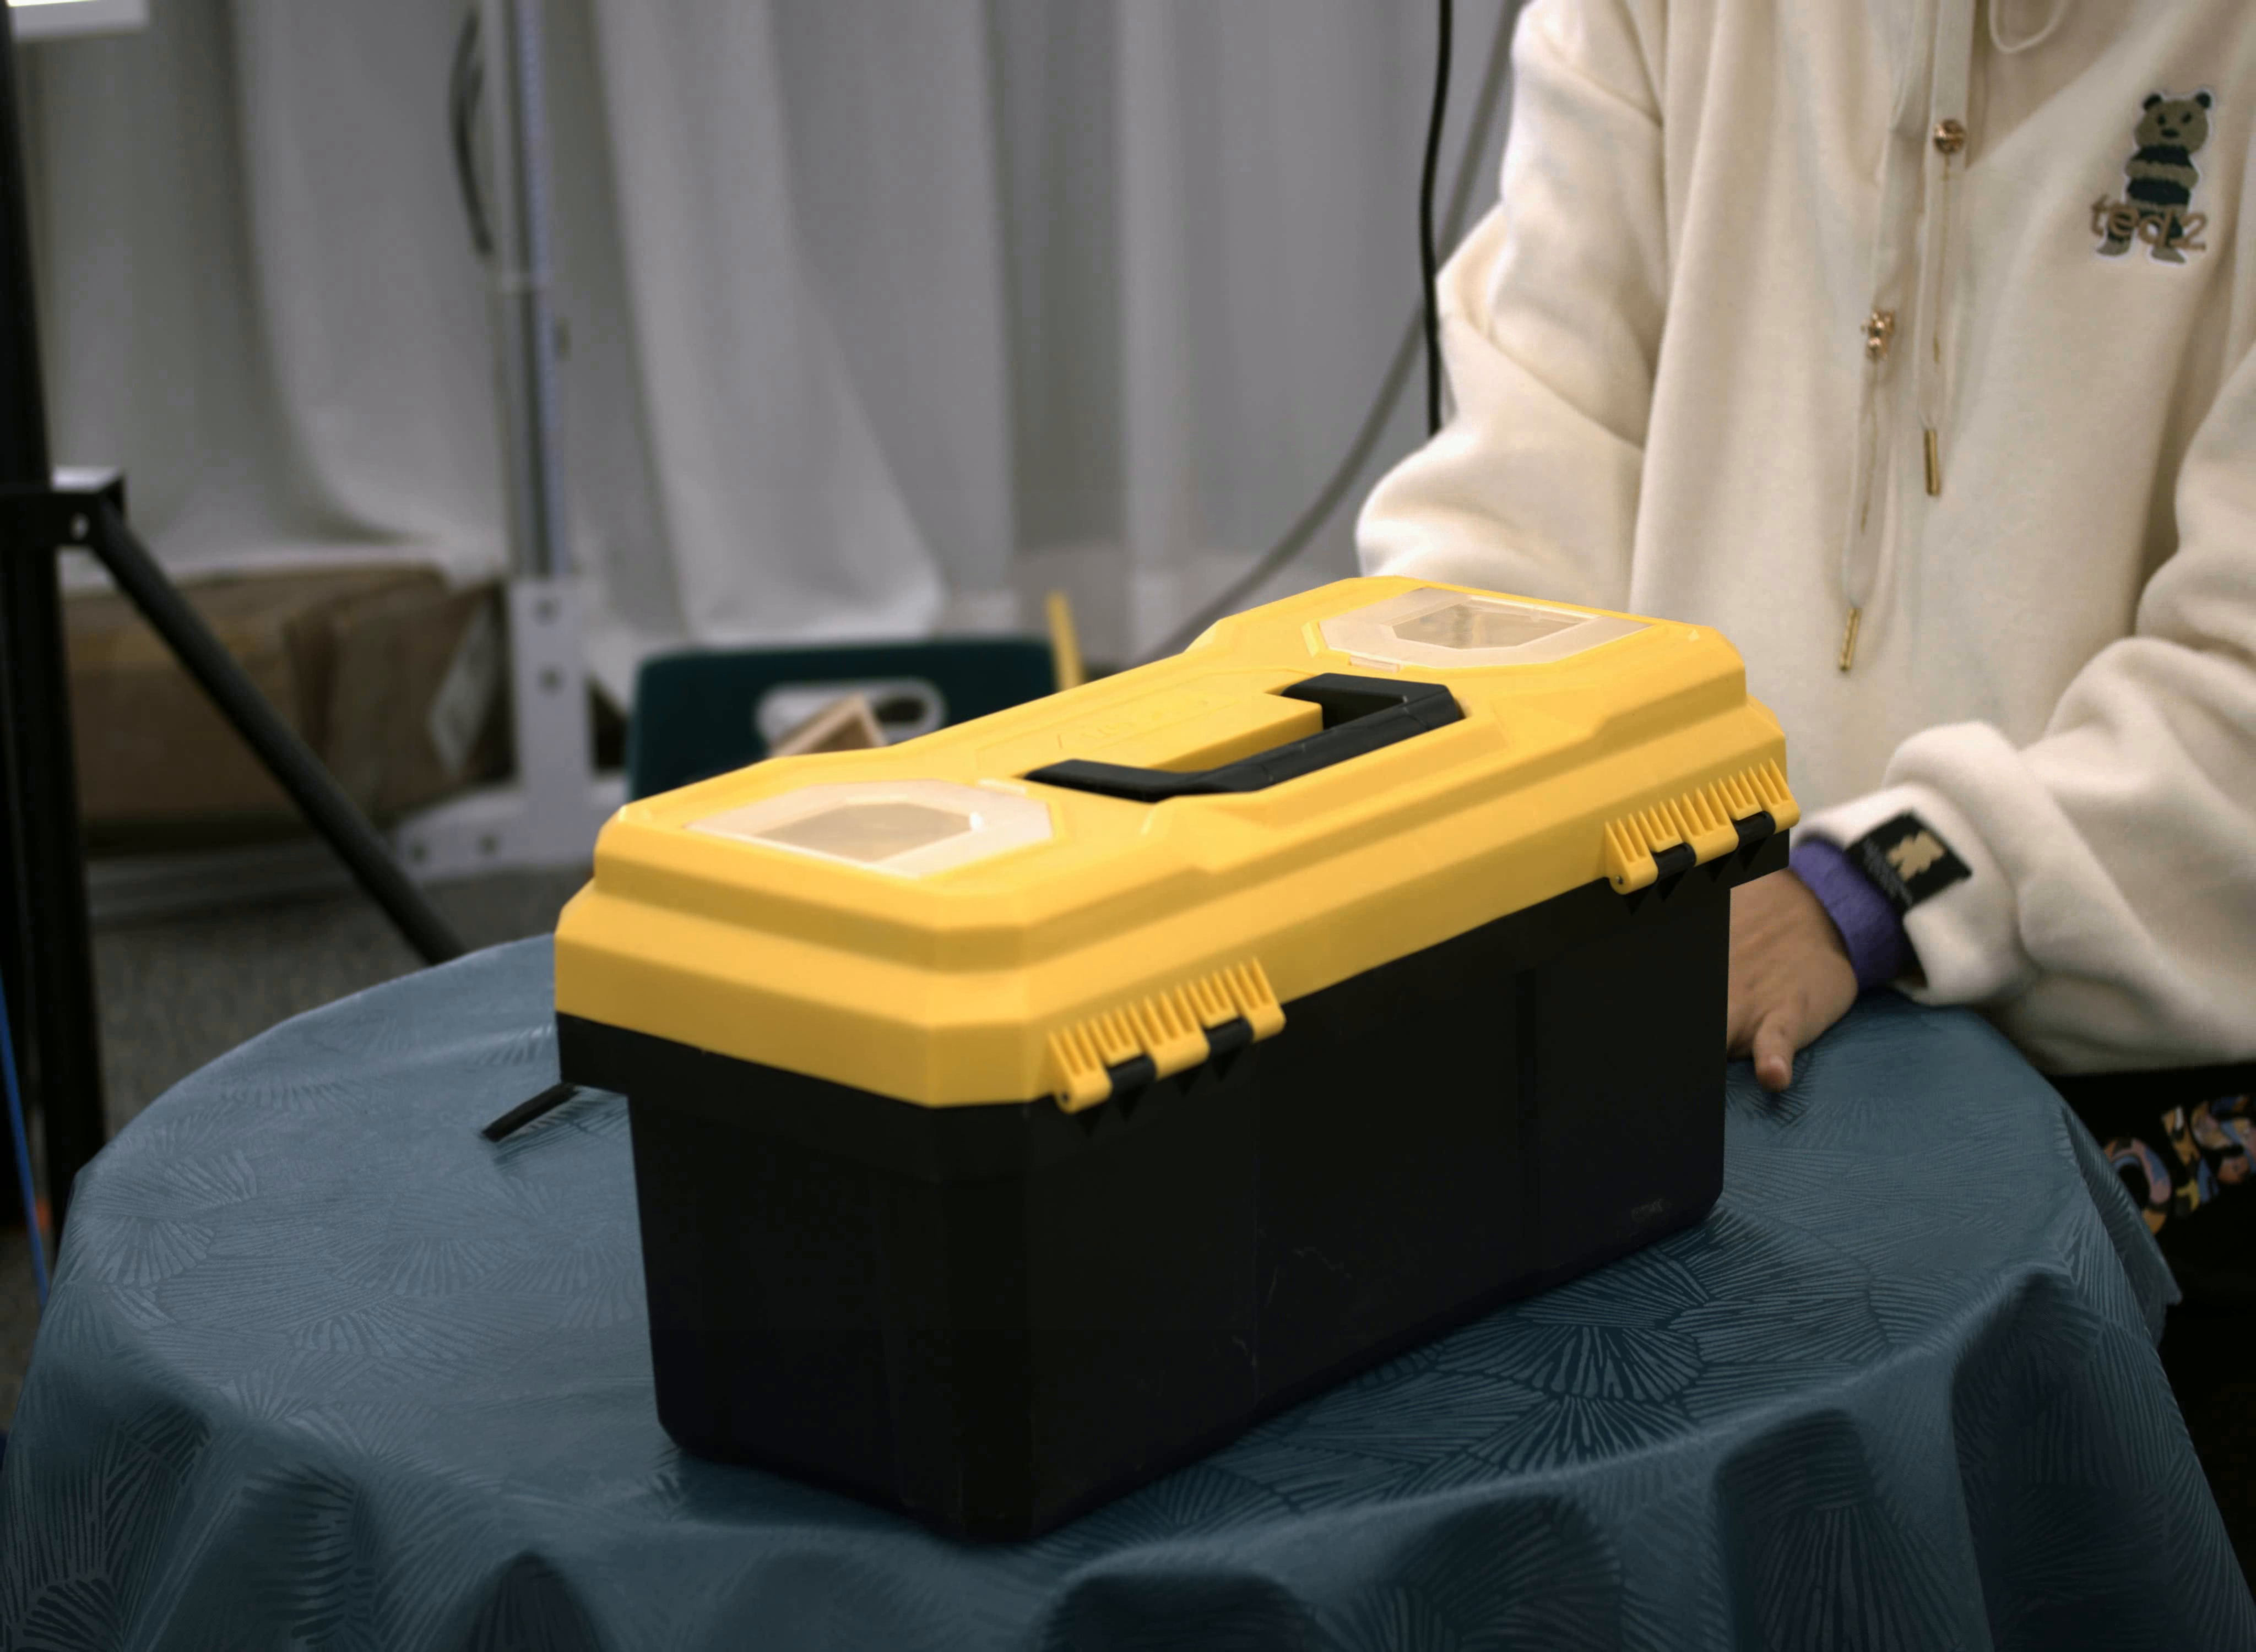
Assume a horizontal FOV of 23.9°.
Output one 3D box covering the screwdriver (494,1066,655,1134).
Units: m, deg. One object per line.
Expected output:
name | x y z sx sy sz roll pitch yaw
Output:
screwdriver | -0.140 0.064 1.700 0.034 0.033 0.186 9 24 34

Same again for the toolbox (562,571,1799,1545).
toolbox | 0.022 0.053 1.430 0.185 0.173 0.343 12 21 42
